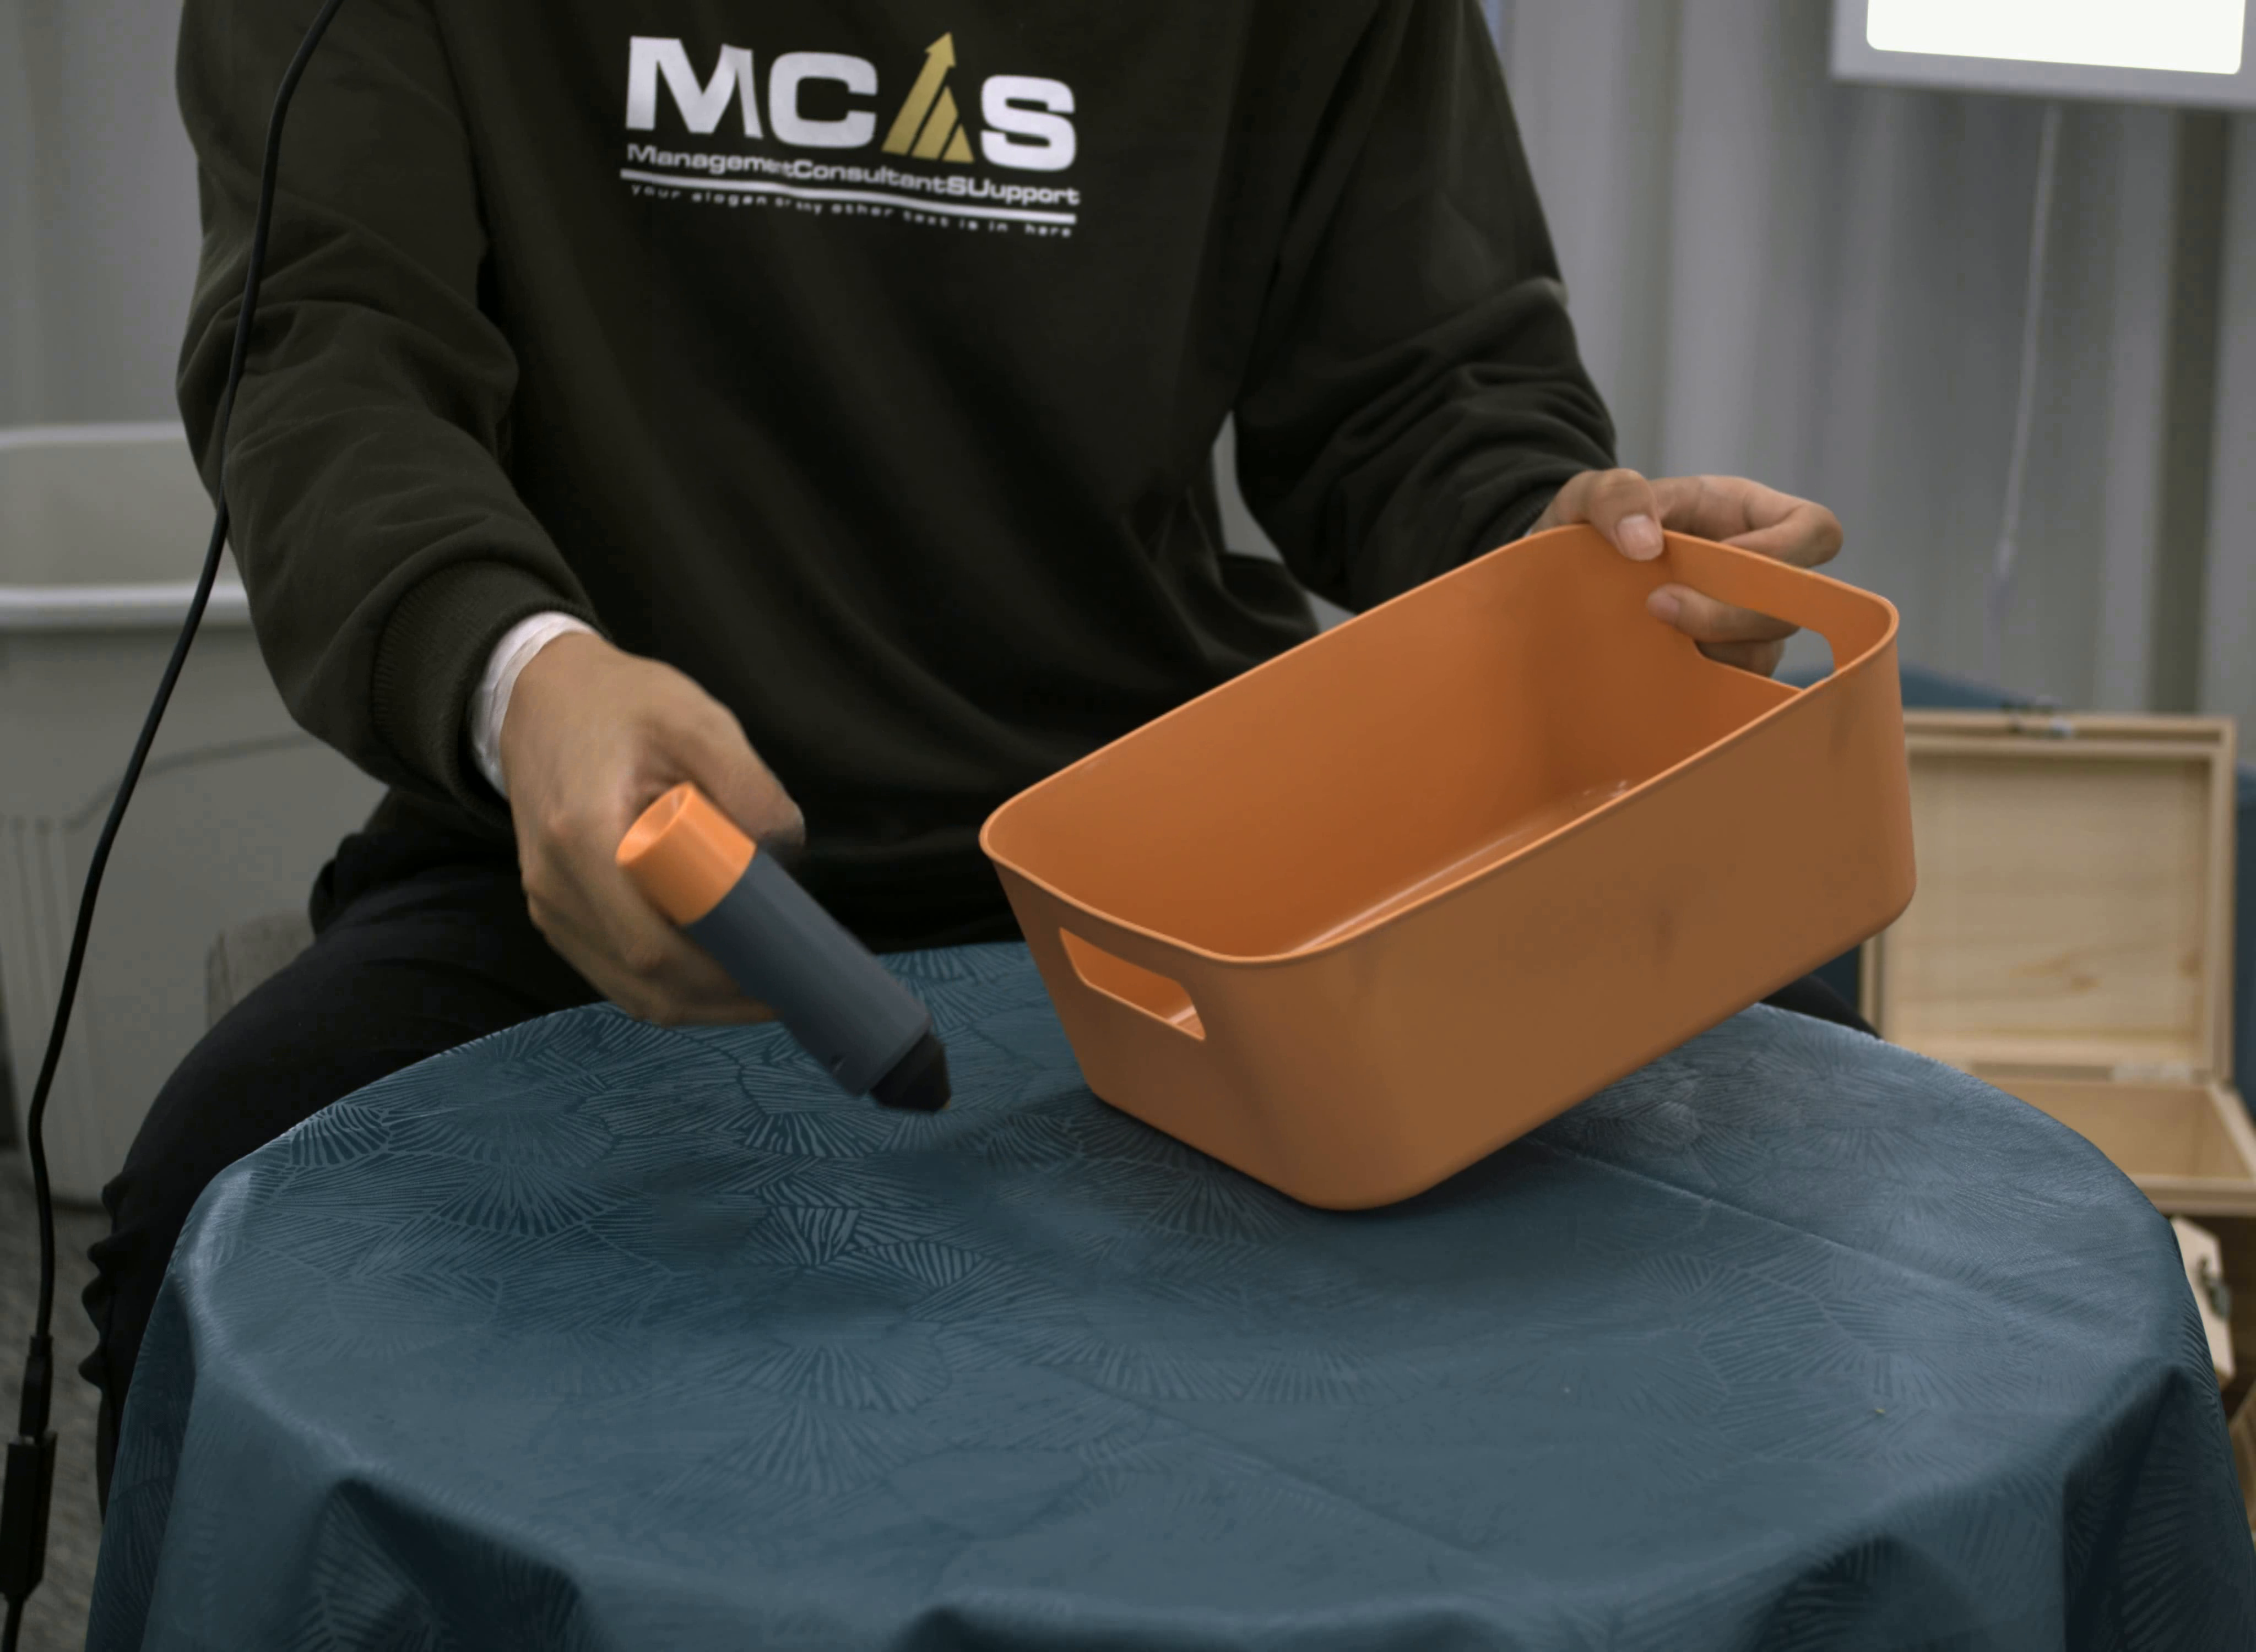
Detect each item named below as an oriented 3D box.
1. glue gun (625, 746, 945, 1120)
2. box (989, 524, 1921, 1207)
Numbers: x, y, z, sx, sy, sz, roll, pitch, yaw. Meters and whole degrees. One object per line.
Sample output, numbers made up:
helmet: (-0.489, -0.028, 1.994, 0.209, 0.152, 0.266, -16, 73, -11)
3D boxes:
glue gun: (-0.106, 0.029, 1.592, 0.041, 0.119, 0.138, -41, 20, 0)
box: (0.111, 0.011, 1.693, 0.273, 0.104, 0.197, -28, 27, -25)
